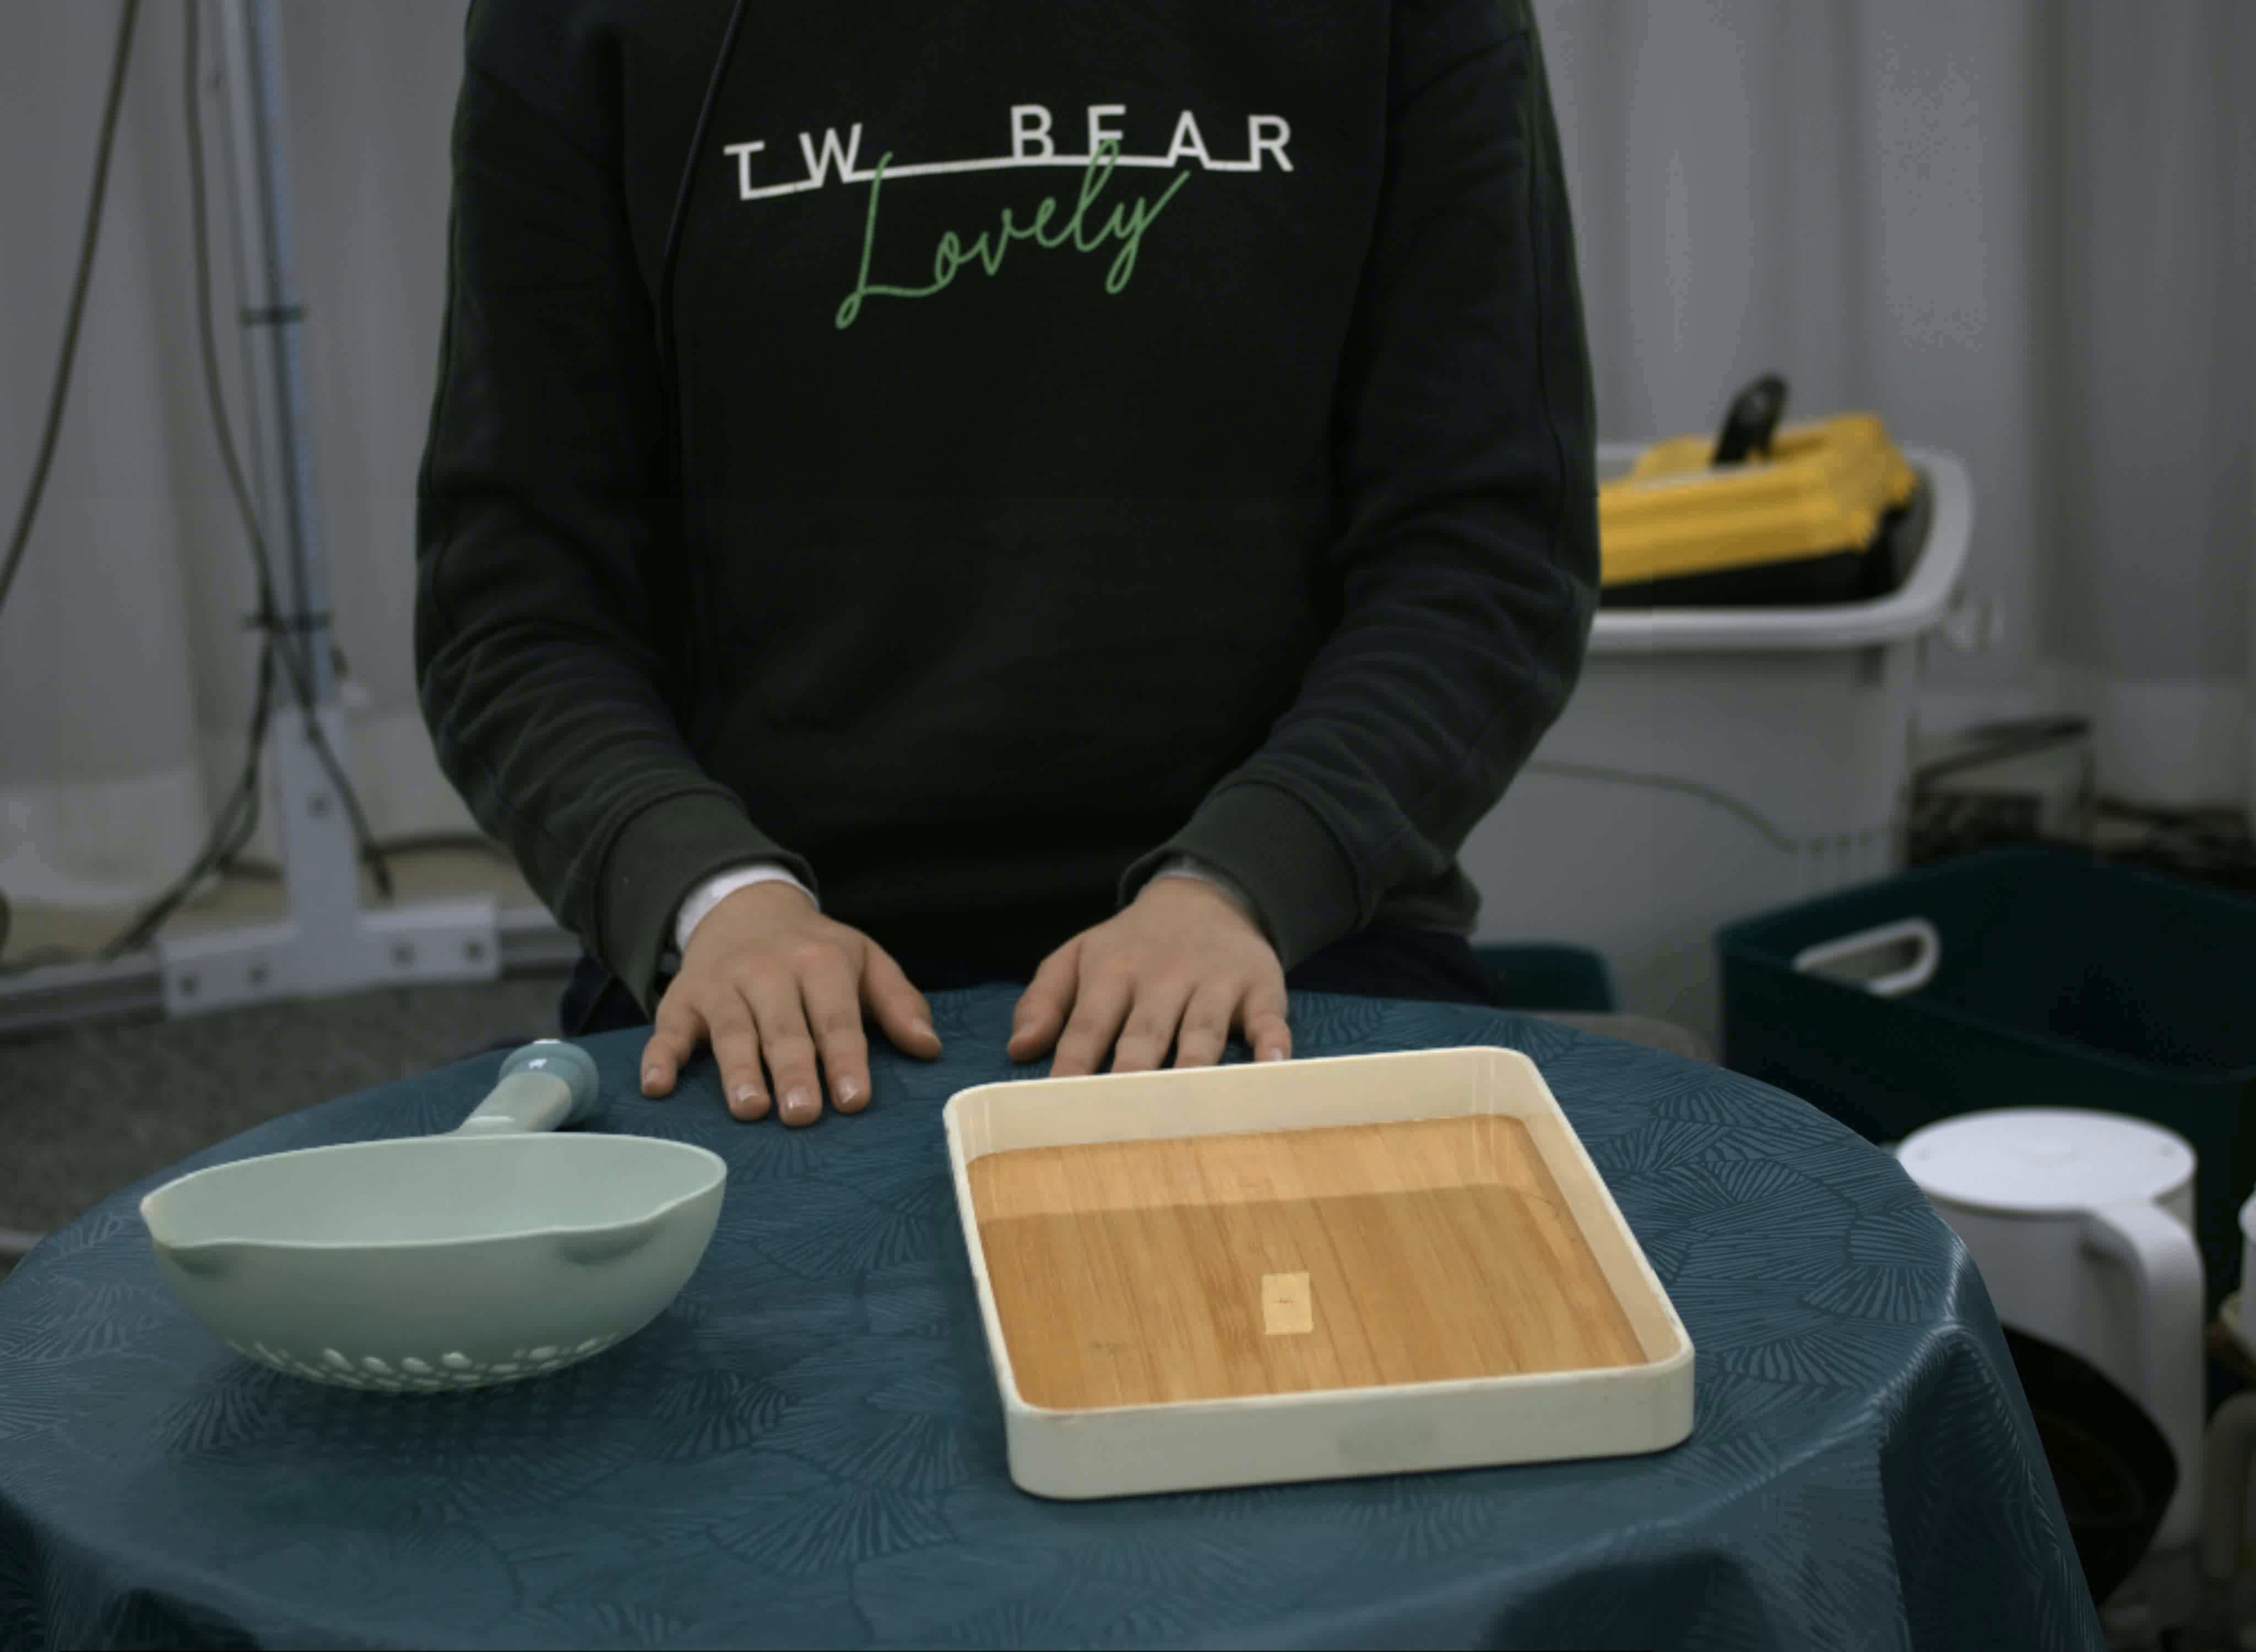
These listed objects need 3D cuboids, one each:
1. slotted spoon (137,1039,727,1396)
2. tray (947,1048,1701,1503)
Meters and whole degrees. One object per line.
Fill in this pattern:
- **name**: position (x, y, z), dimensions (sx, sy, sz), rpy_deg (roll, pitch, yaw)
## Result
- **slotted spoon**: position (-0.195, 0.103, 1.669), dimensions (0.169, 0.075, 0.361), rpy_deg (-2, 15, 2)
- **tray**: position (0.050, 0.127, 1.608), dimensions (0.191, 0.027, 0.302), rpy_deg (-4, 15, -4)
